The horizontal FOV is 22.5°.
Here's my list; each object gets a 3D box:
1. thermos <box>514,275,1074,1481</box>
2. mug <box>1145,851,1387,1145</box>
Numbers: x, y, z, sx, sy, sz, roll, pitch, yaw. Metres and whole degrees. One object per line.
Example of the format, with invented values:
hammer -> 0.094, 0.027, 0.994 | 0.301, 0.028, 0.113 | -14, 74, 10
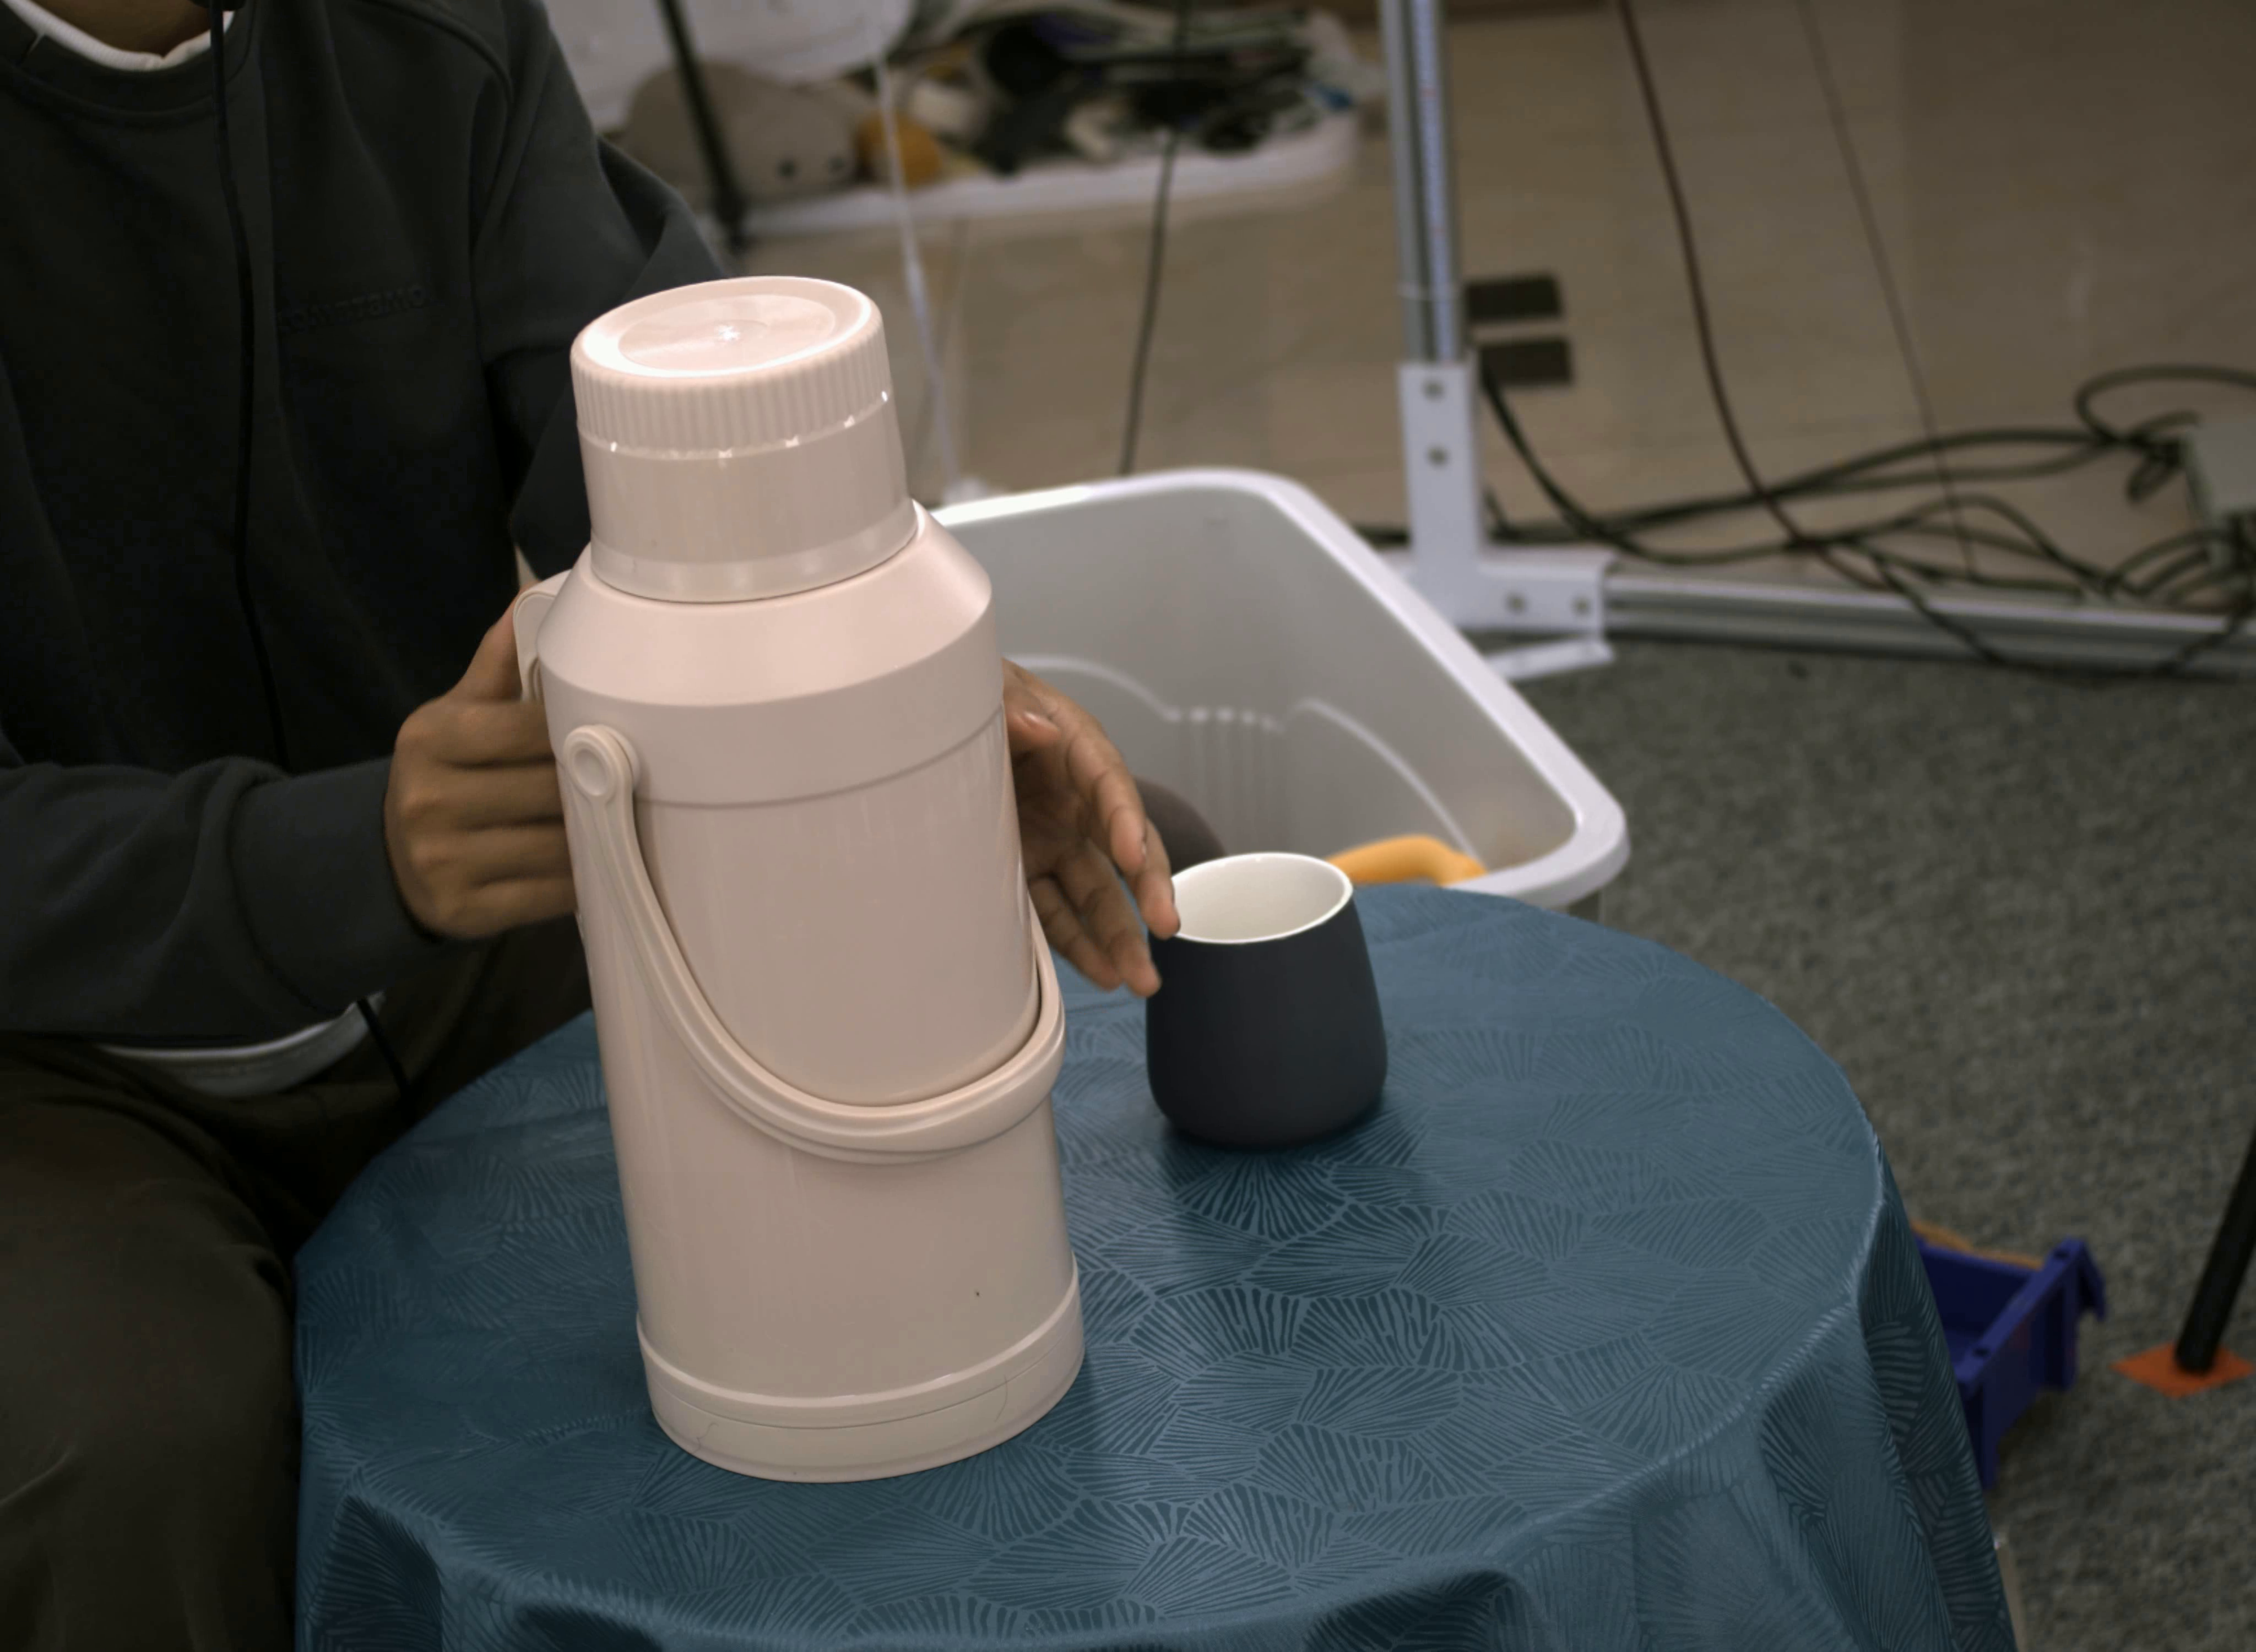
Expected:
thermos -> -0.125, 0.013, 1.969 | 0.205, 0.413, 0.173 | 16, 33, 37
mug -> 0.058, 0.061, 2.193 | 0.093, 0.091, 0.122 | 8, 28, 26
